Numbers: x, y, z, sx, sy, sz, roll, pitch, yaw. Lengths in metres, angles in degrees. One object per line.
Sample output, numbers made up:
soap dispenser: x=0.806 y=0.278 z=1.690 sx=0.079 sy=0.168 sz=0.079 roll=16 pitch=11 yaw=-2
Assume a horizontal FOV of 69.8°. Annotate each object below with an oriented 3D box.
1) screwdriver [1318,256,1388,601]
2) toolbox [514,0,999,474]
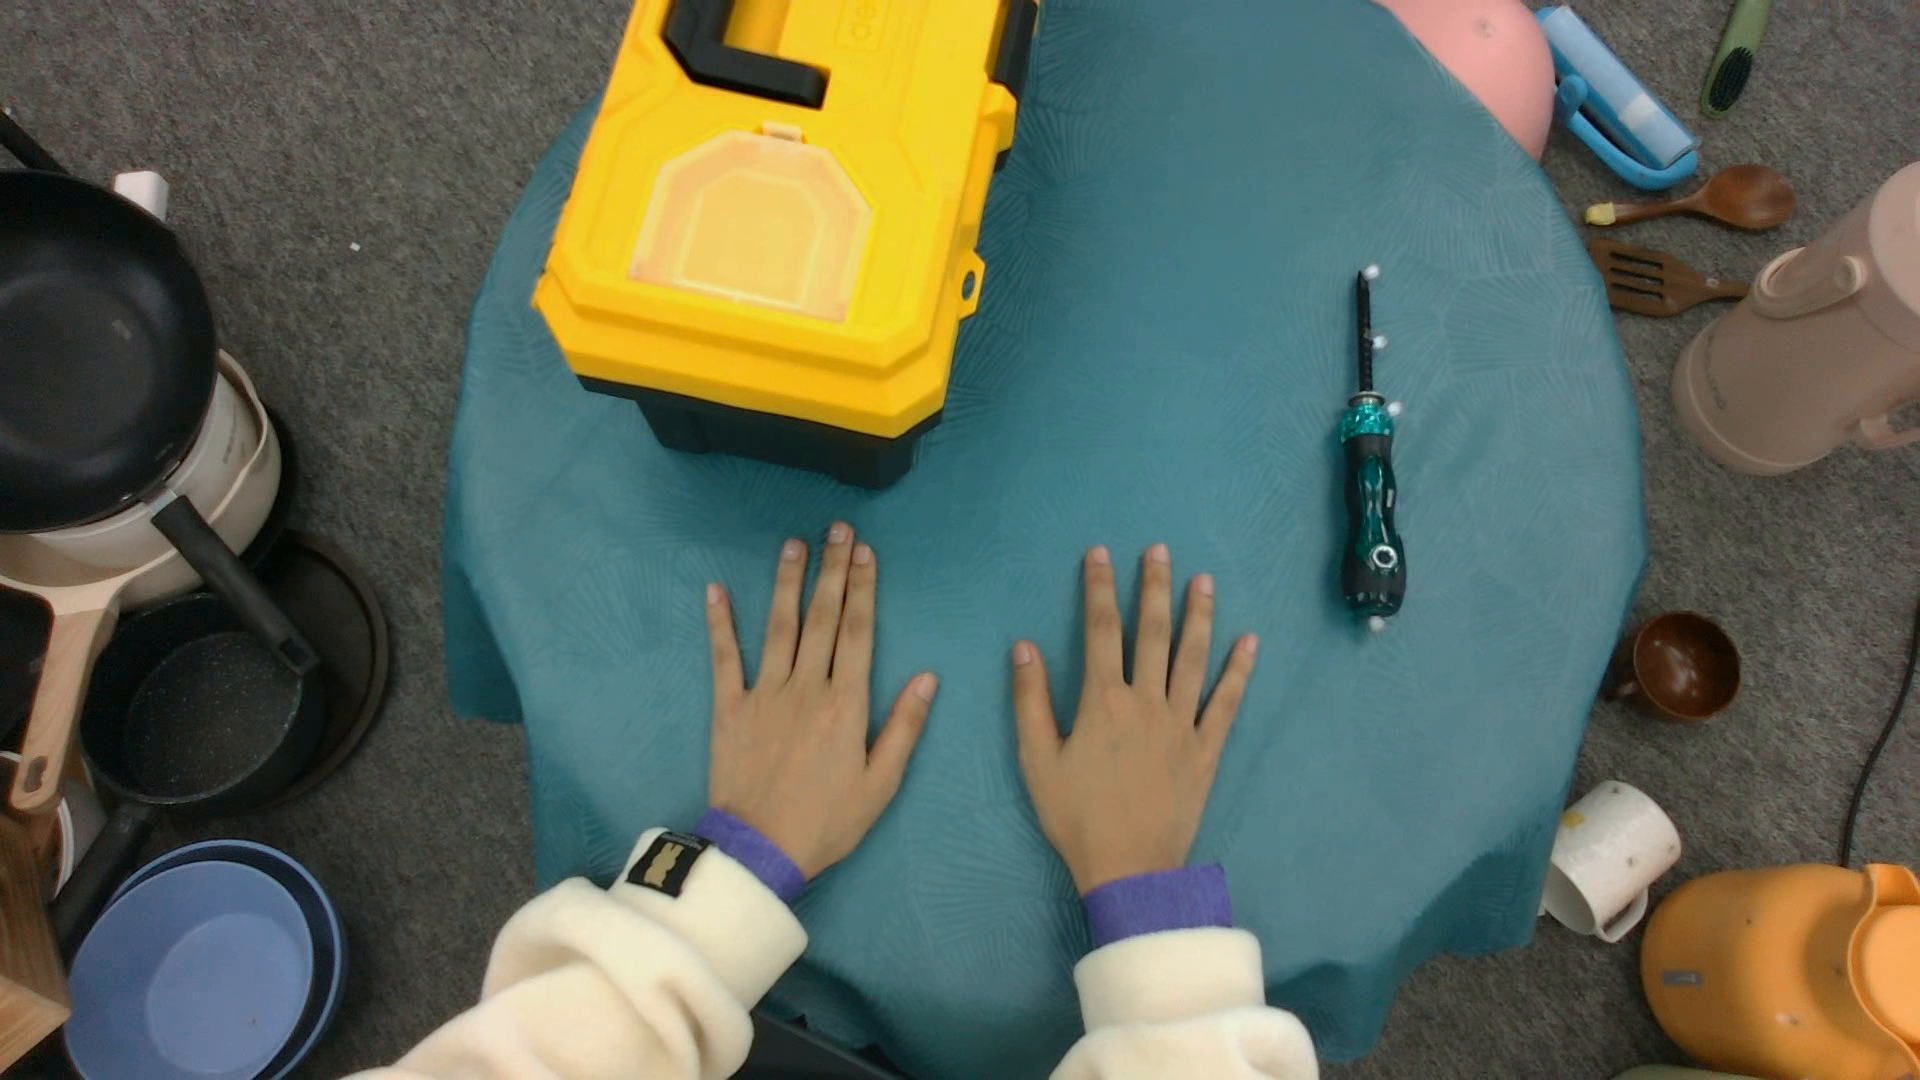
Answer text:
screwdriver: x=0.195 y=-0.061 z=0.695 sx=0.034 sy=0.033 sz=0.190 roll=4 pitch=68 yaw=-2
toolbox: x=-0.069 y=-0.213 z=0.646 sx=0.181 sy=0.172 sz=0.352 roll=12 pitch=72 yaw=0
